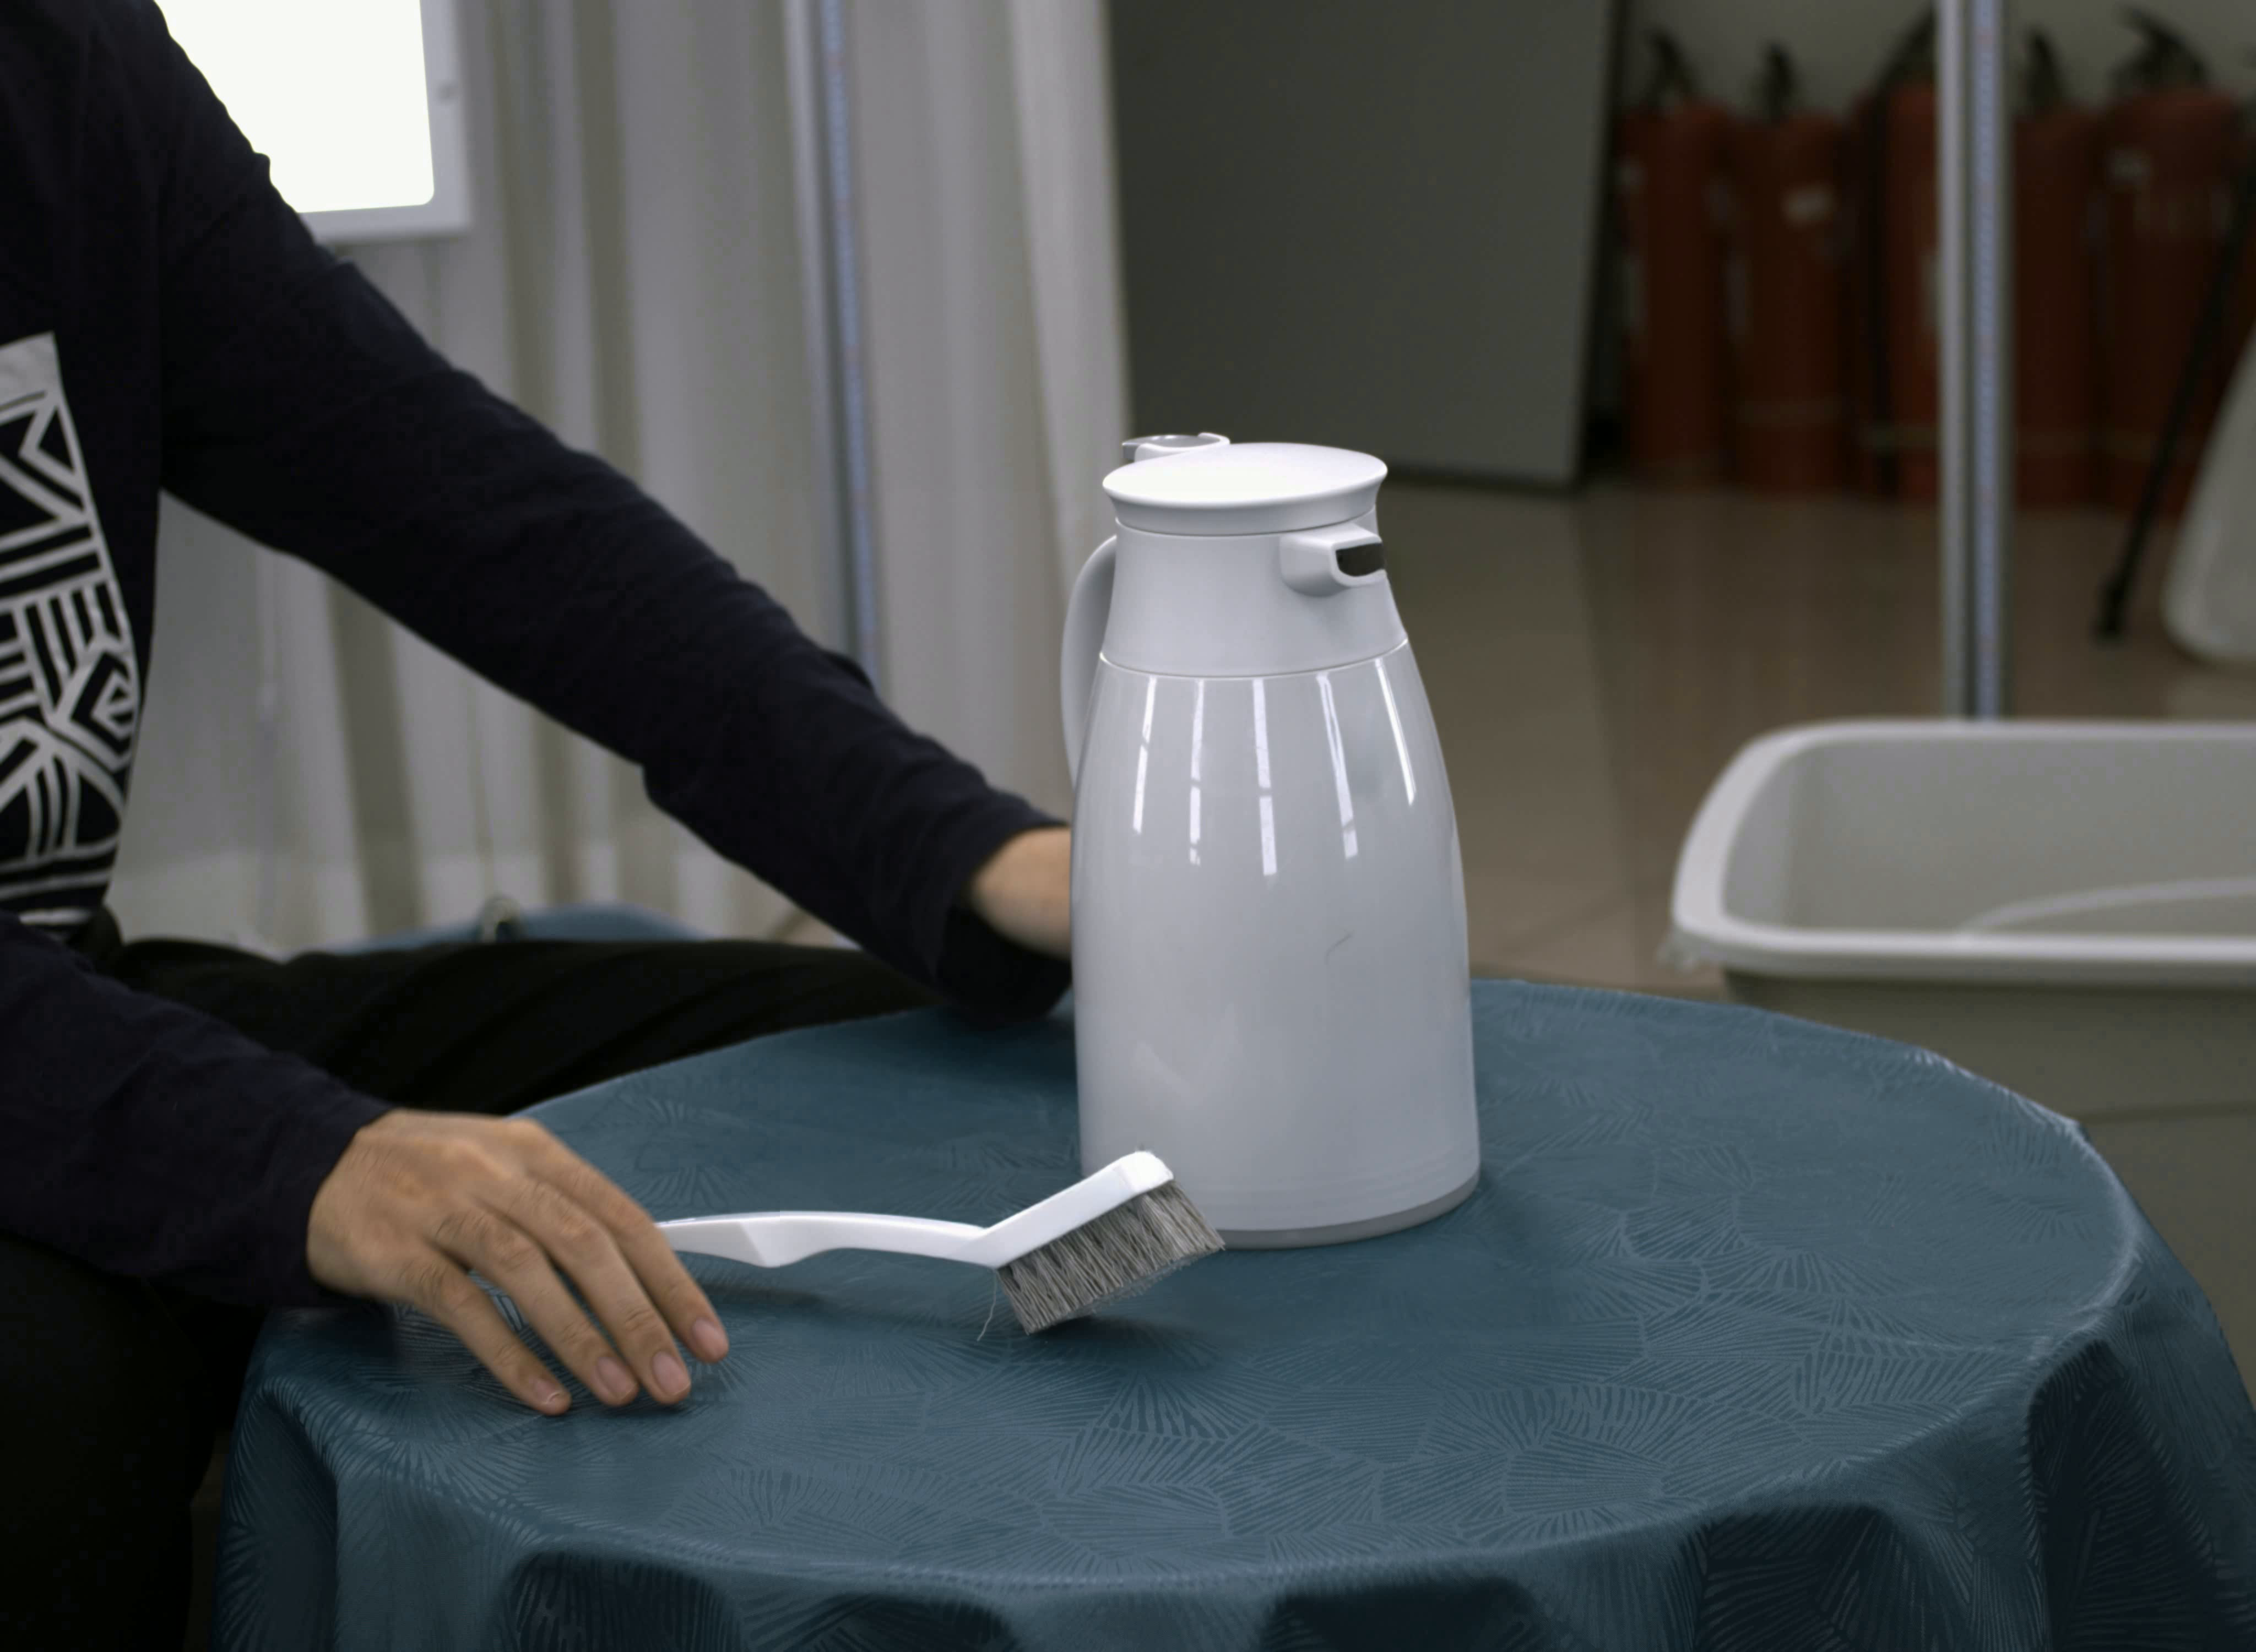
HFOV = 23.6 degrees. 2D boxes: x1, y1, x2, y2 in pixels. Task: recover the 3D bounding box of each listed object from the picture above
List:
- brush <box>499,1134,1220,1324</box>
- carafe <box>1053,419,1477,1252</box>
[{"bbox_3d":[-0.086,0.136,1.673,0.244,0.051,0.034,-10,3,24],"label":"brush"},{"bbox_3d":[0.031,-0.005,1.754,0.129,0.251,0.169,-13,15,-32],"label":"carafe"}]
